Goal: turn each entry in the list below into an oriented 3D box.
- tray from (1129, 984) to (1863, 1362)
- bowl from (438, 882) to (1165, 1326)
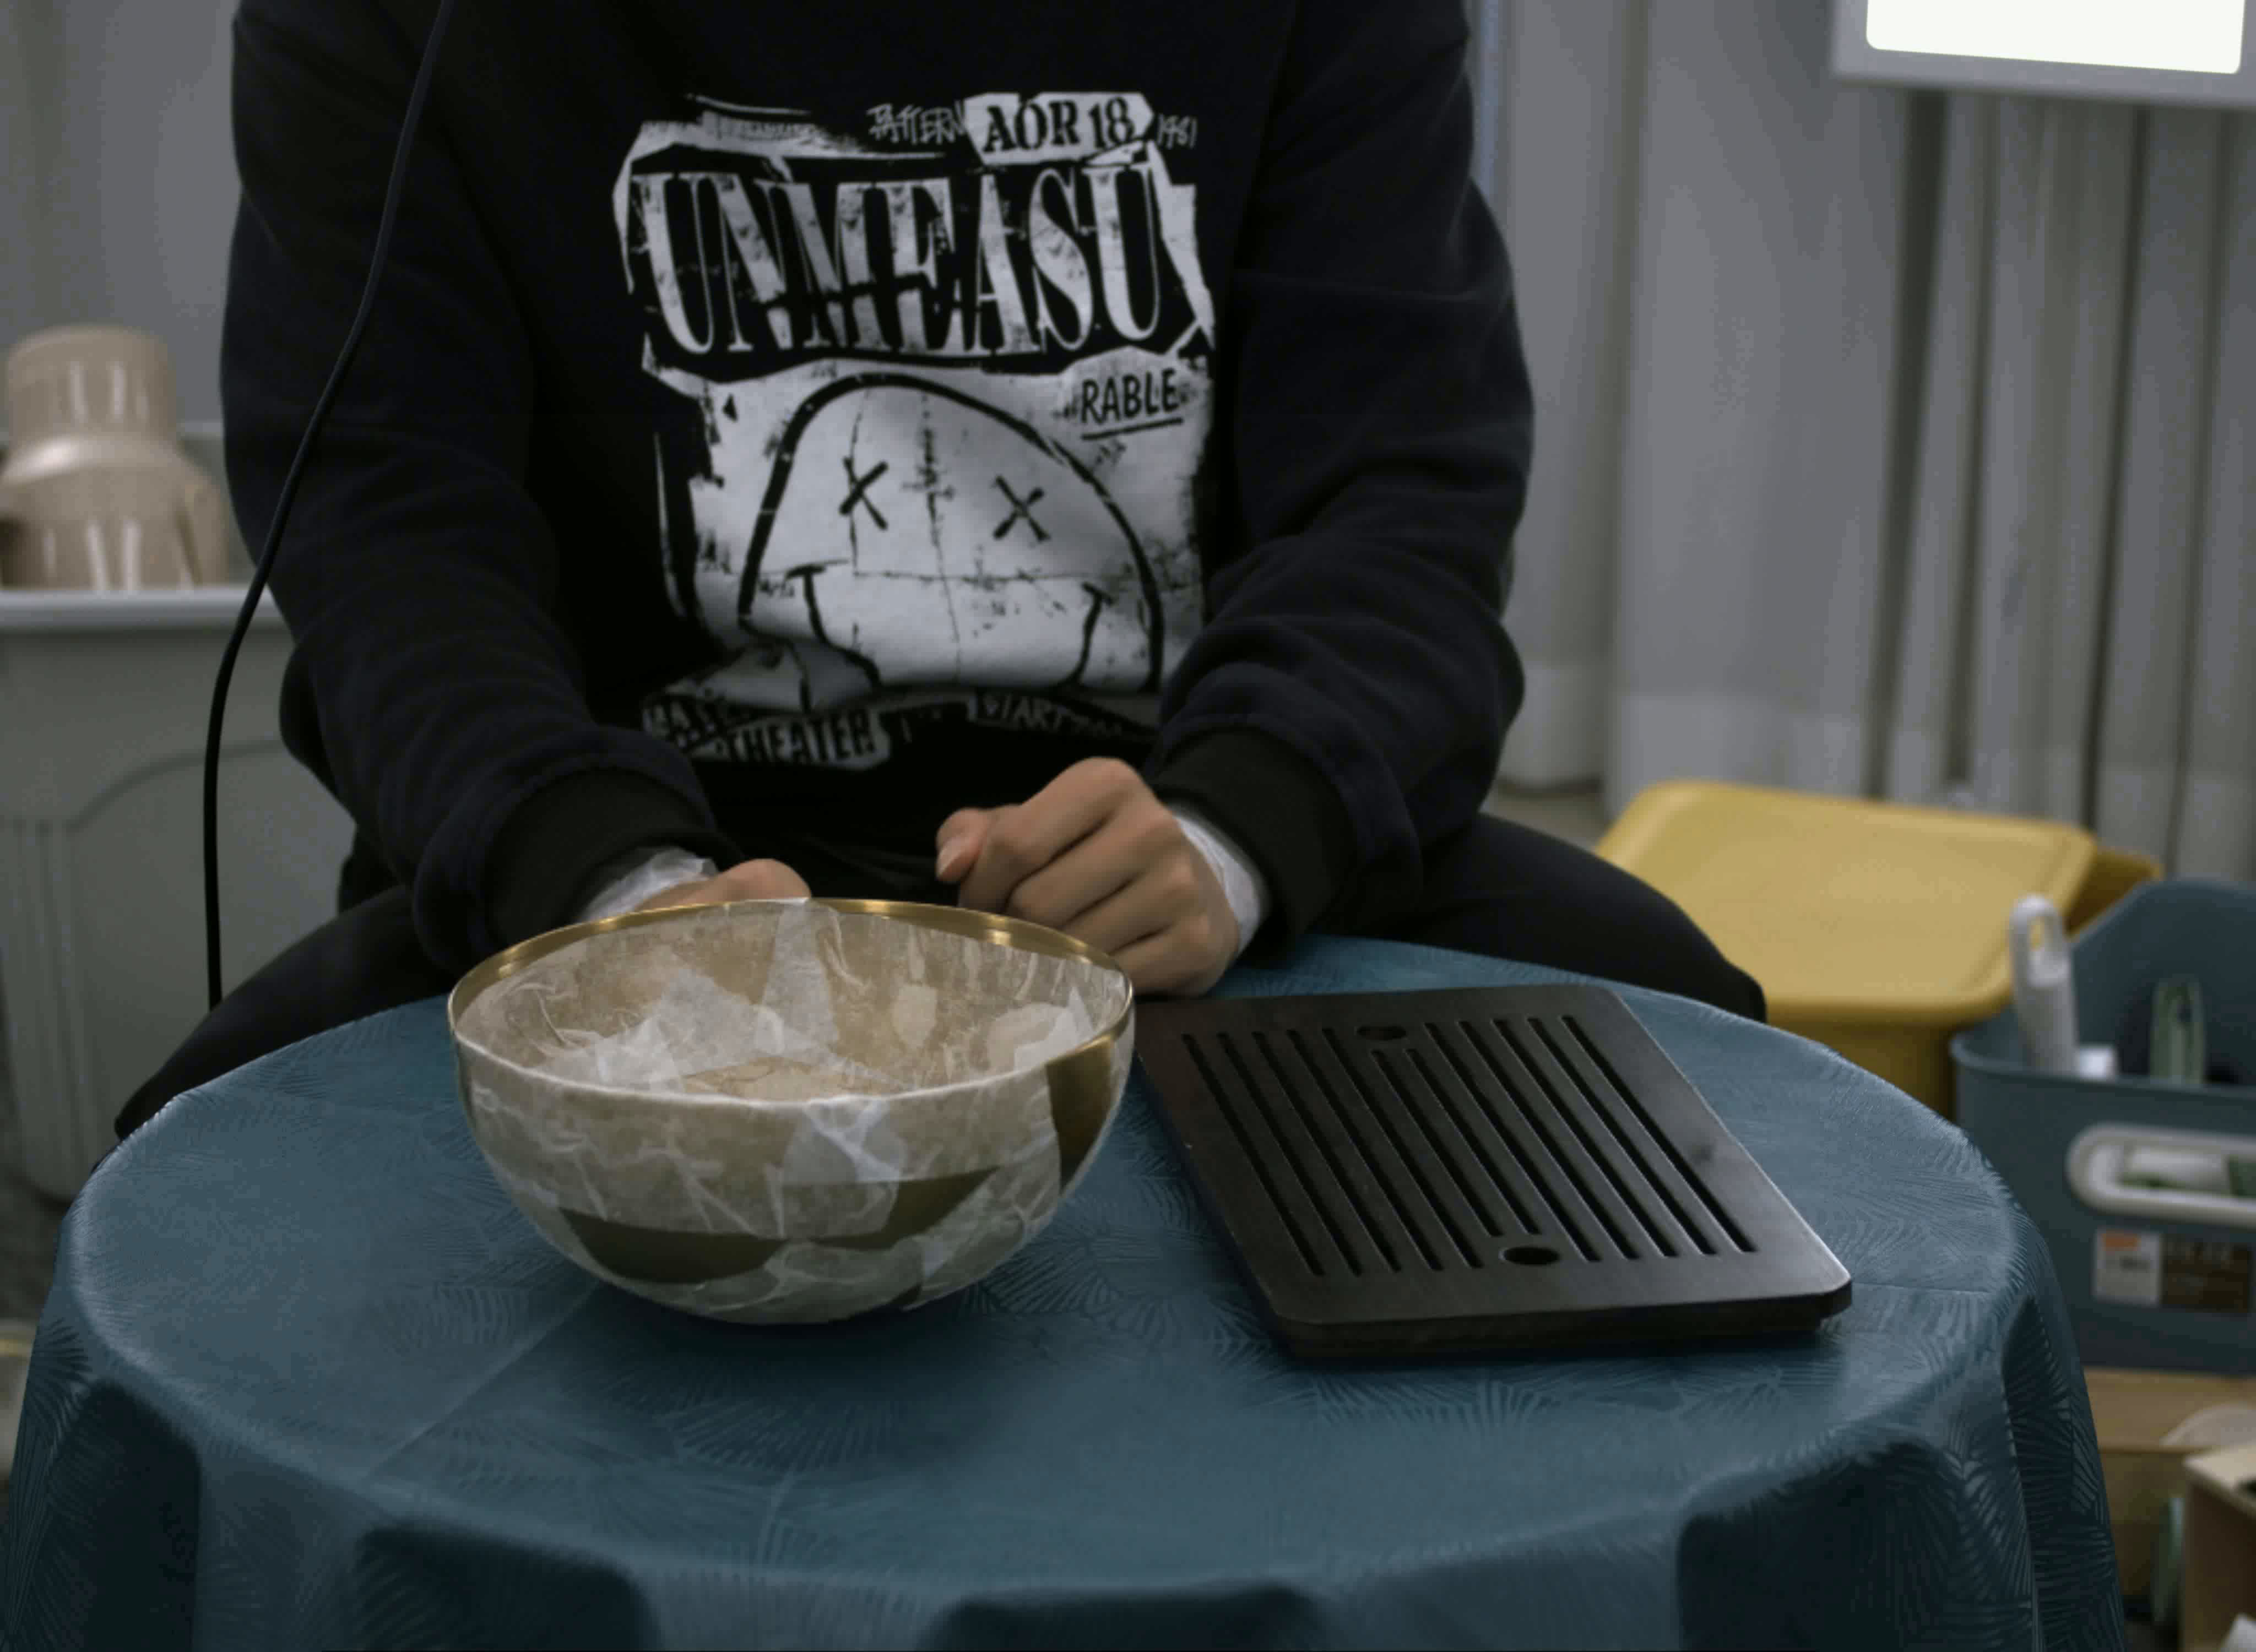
[{"bbox_3d":[0.105,0.104,1.629,0.170,0.019,0.303,-2,16,-9],"label":"tray"},{"bbox_3d":[-0.094,0.089,1.534,0.214,0.095,0.213,-1,16,1],"label":"bowl"}]
